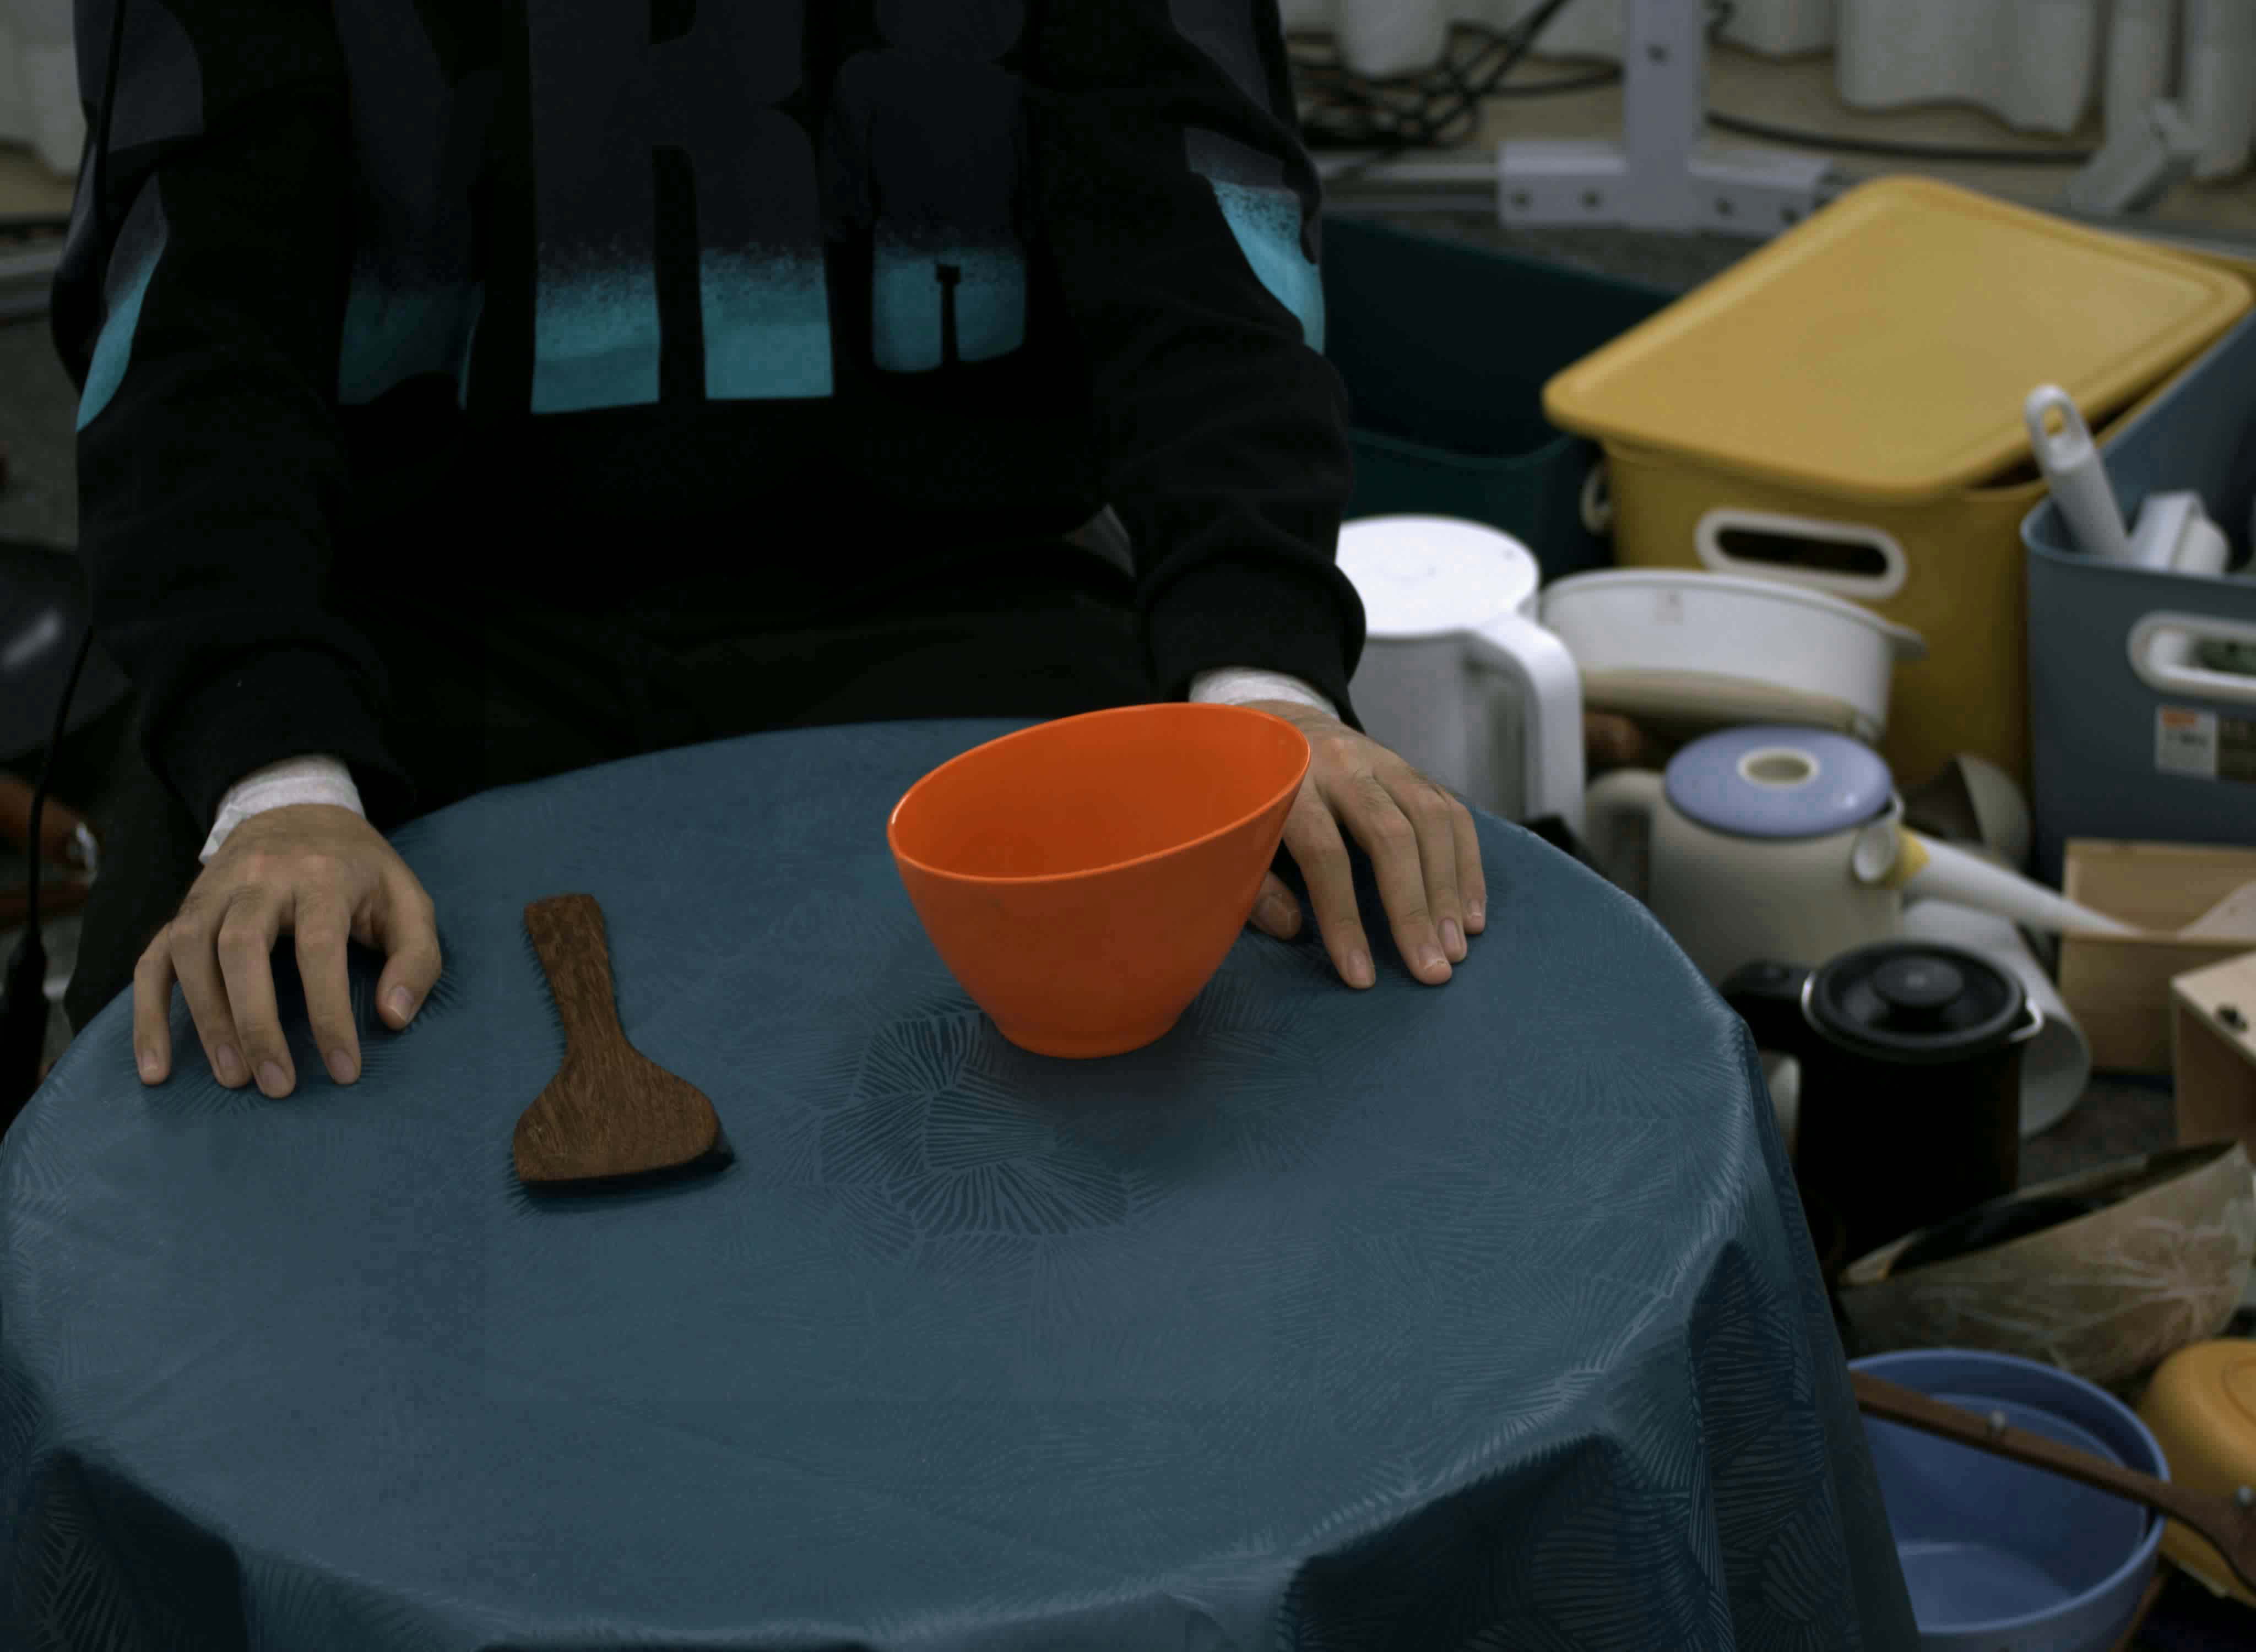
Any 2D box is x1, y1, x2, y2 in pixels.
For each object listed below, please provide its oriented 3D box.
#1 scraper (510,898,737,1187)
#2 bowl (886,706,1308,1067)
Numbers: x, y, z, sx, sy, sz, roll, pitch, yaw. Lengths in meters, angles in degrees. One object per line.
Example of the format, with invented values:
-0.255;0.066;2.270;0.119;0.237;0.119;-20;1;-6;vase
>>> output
-0.186;0.075;1.963;0.076;0.011;0.213;-7;27;-9;scraper
-0.008;0.025;1.942;0.147;0.103;0.150;-4;27;2;bowl
